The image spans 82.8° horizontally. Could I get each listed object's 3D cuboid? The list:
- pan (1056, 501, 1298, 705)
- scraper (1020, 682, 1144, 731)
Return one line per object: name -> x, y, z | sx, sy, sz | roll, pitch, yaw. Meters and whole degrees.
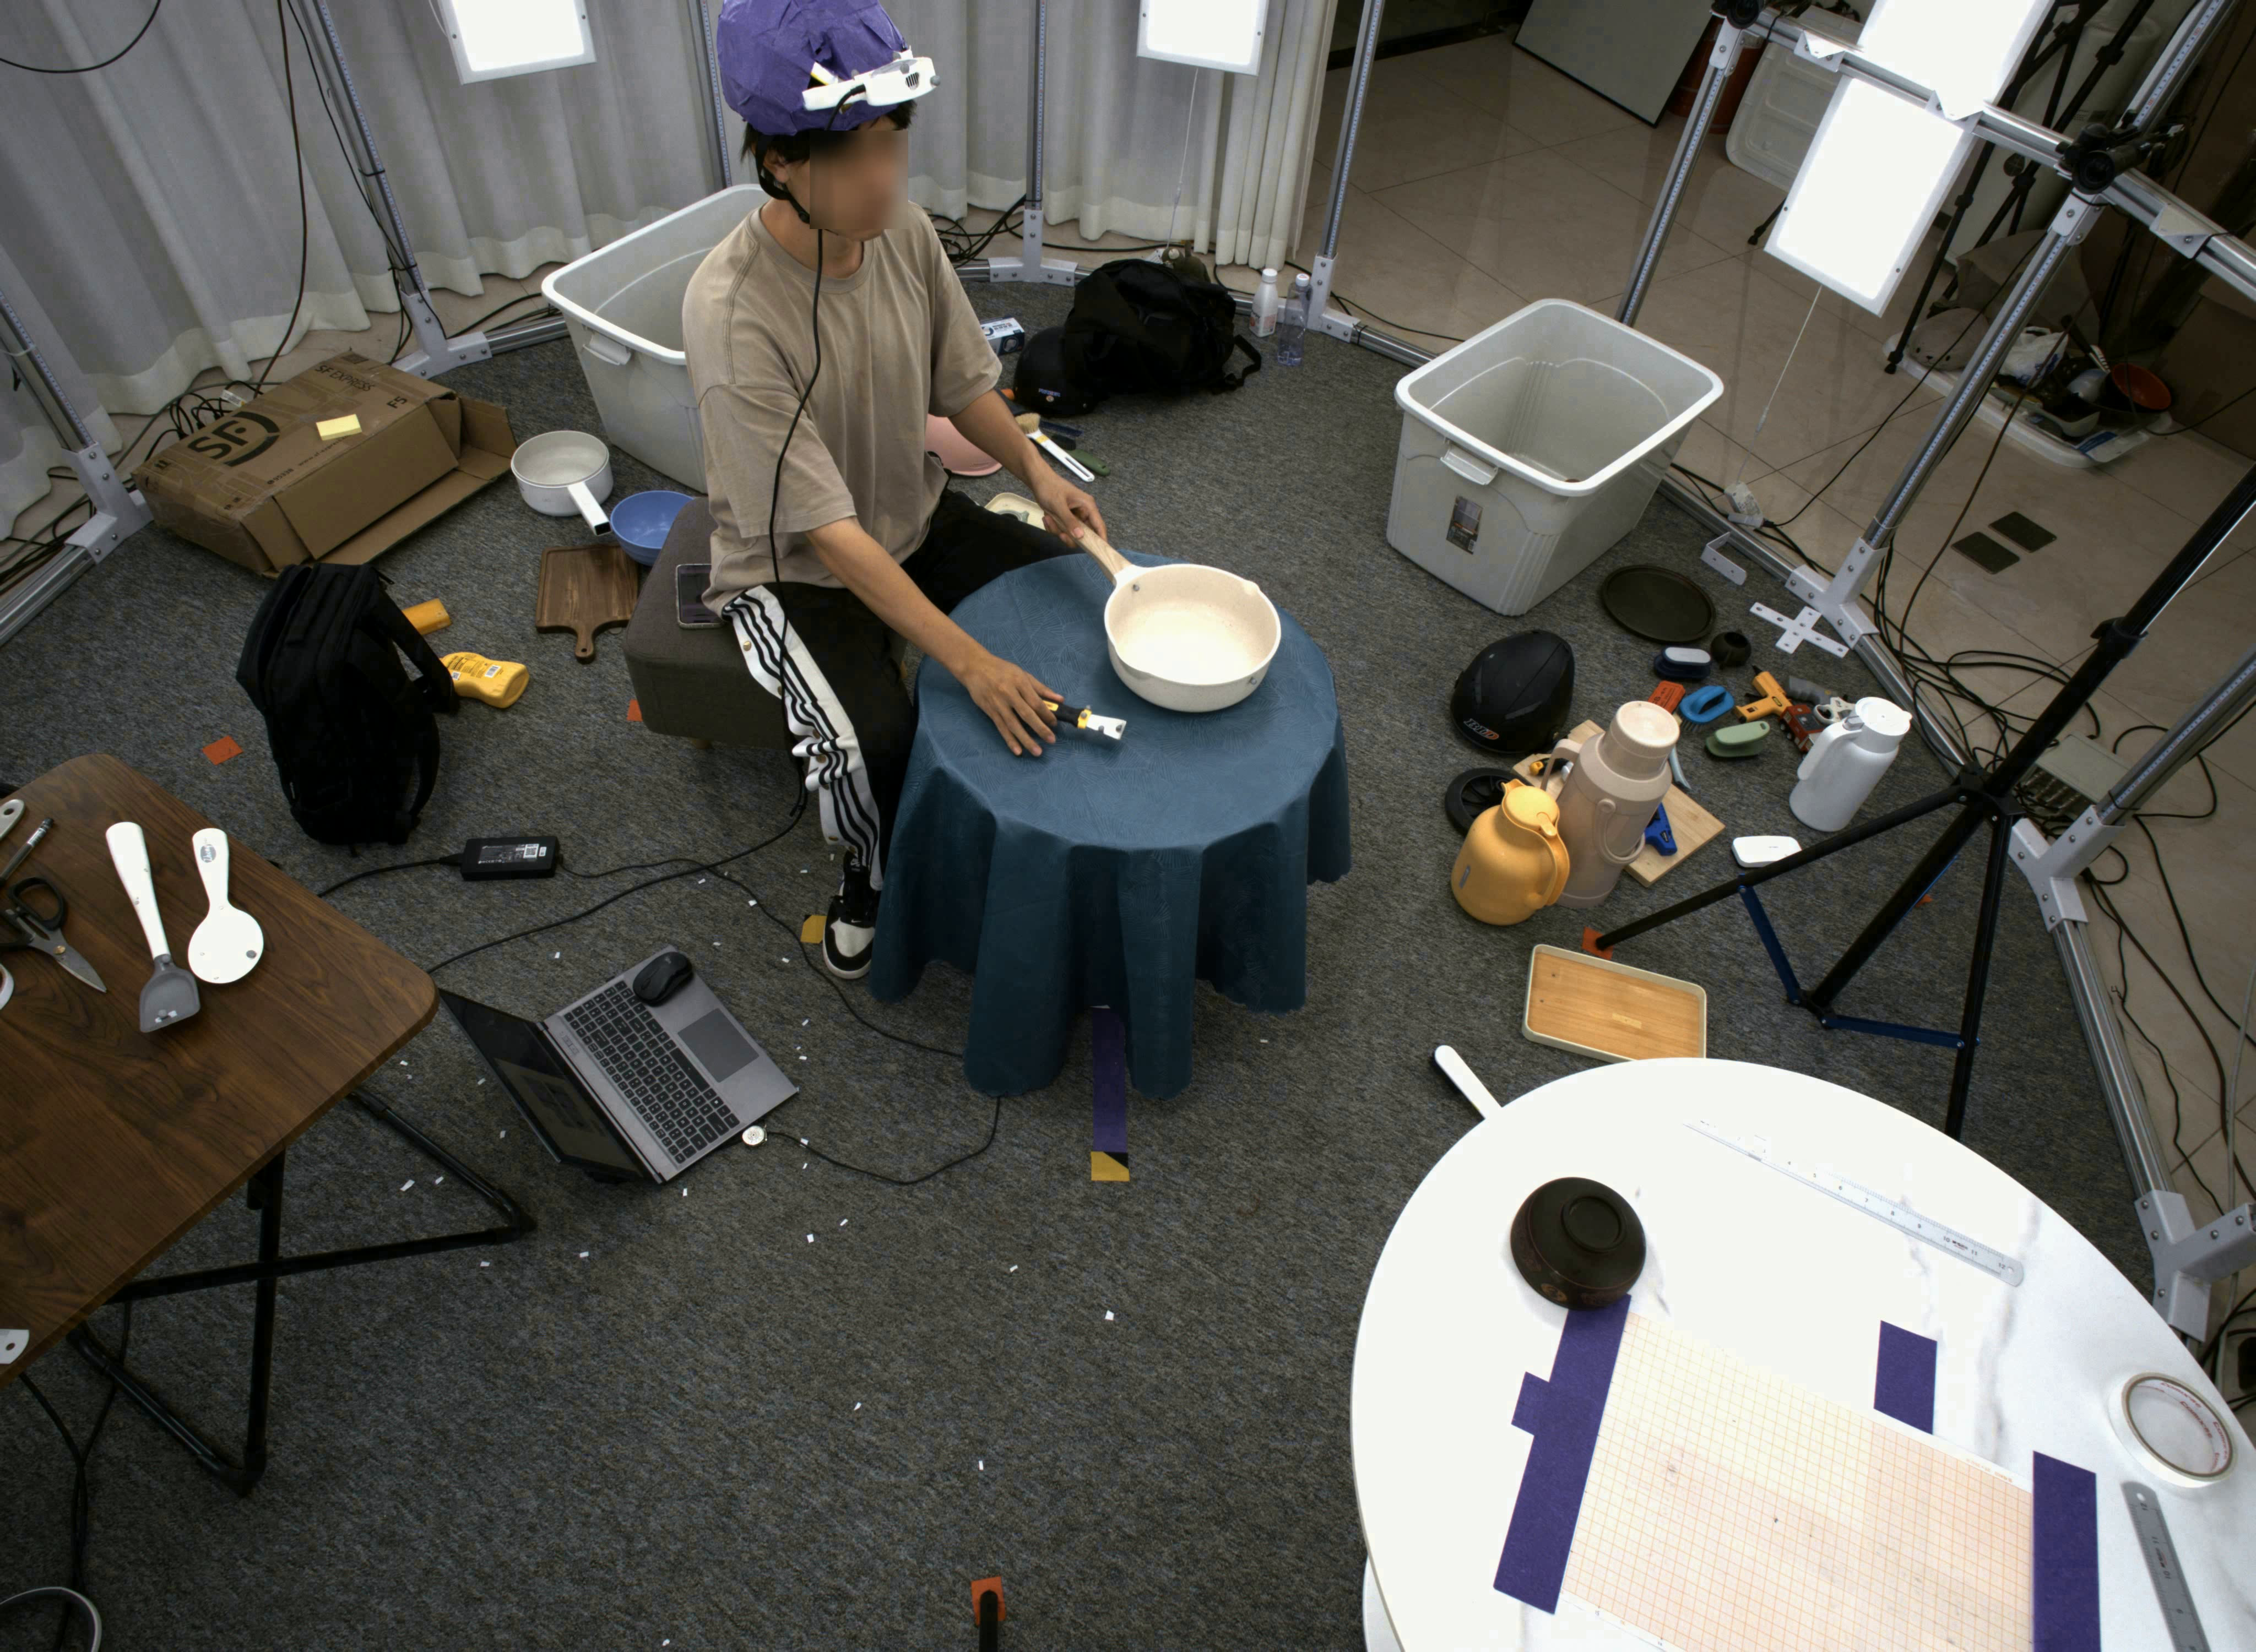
pan -> 0.050, -0.334, 1.889 | 0.265, 0.099, 0.441 | -35, 60, -28
scraper -> -0.064, -0.164, 1.745 | 0.171, 0.014, 0.039 | 14, 58, 5
